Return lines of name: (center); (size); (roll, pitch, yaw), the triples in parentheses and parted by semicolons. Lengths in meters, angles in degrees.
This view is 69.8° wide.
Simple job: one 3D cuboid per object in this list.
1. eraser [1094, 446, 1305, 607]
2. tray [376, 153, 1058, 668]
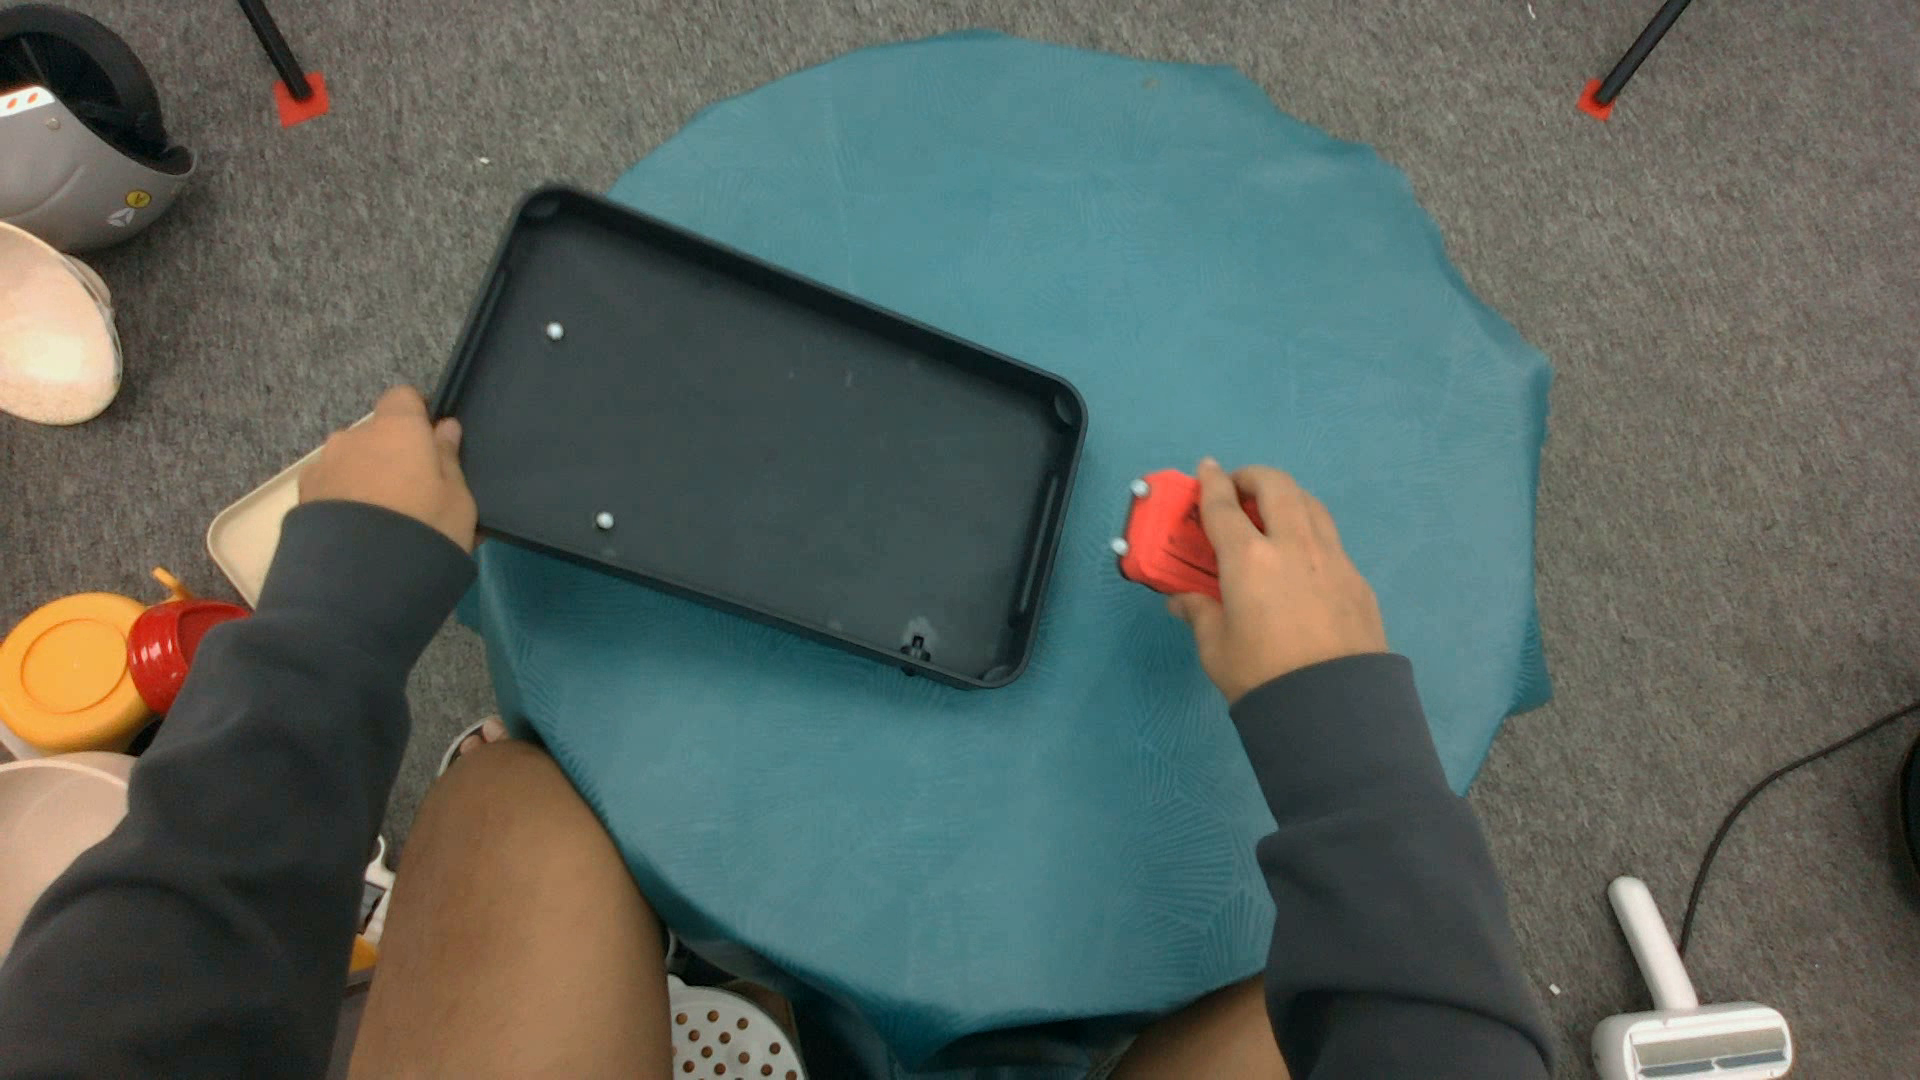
eraser: (0.121, -0.005, 0.686); (0.108, 0.023, 0.059); (18, 82, -25)
tray: (-0.111, -0.059, 0.706); (0.318, 0.037, 0.185); (19, 73, -17)
